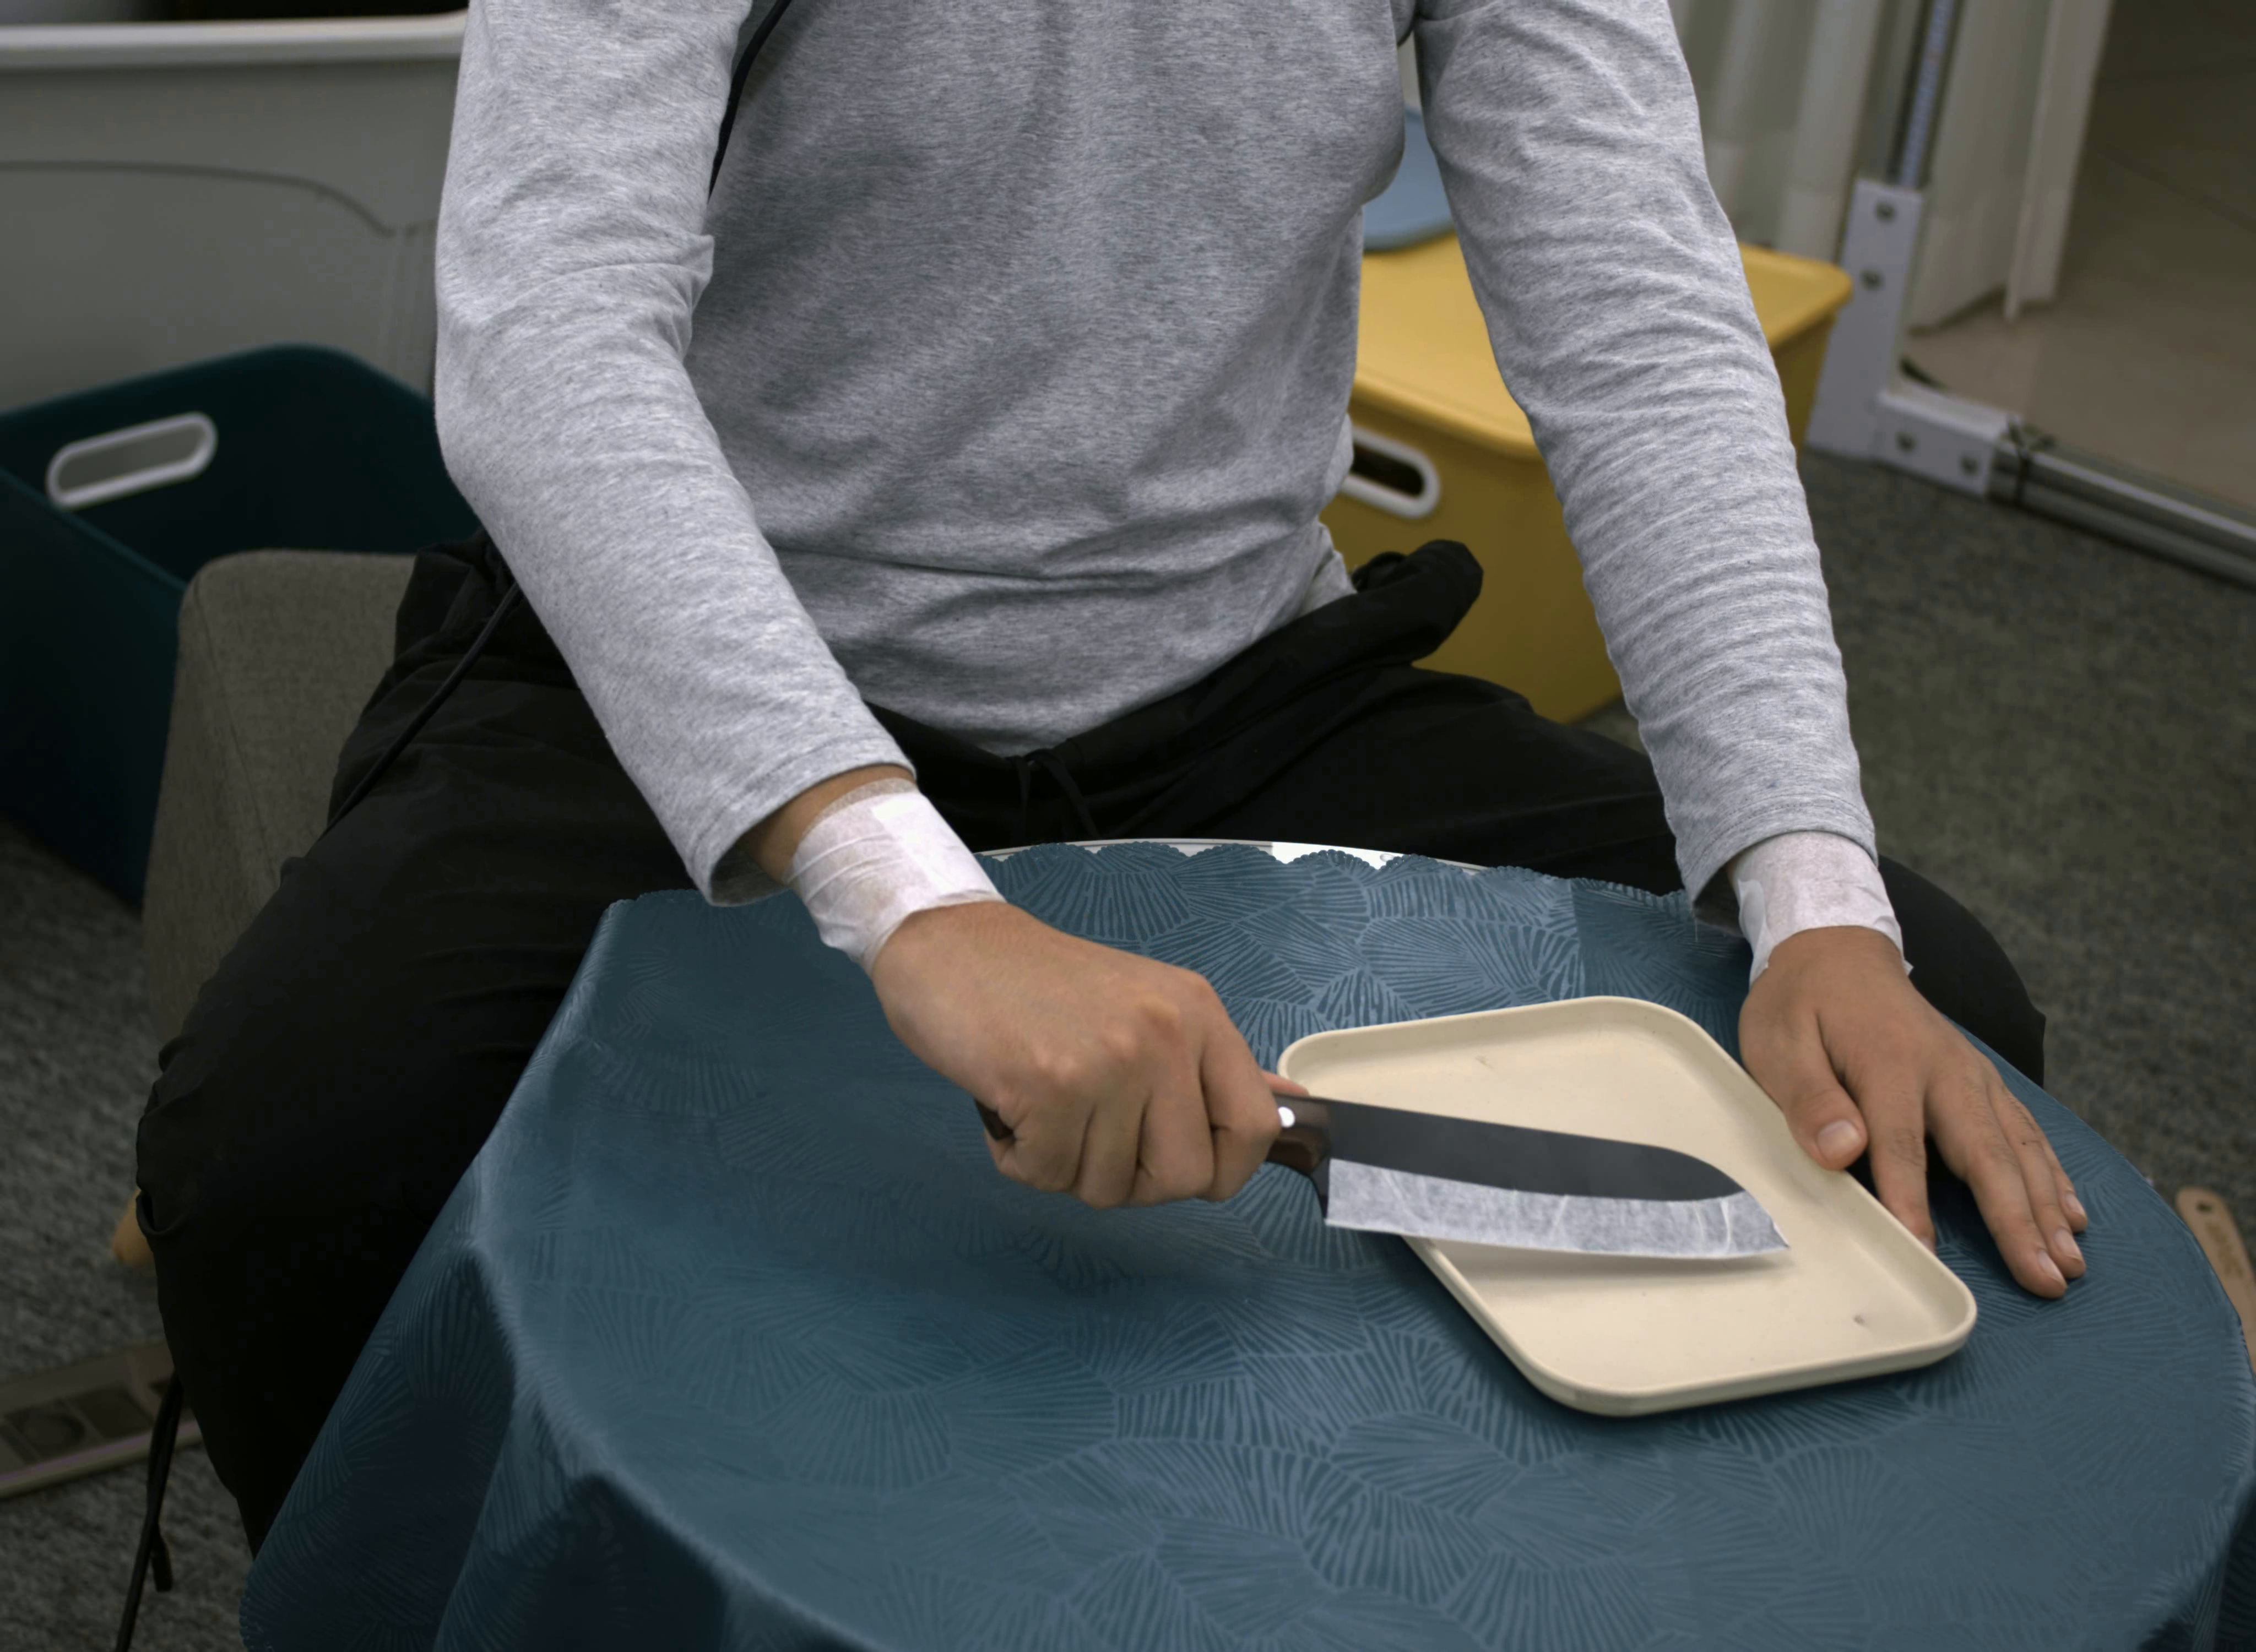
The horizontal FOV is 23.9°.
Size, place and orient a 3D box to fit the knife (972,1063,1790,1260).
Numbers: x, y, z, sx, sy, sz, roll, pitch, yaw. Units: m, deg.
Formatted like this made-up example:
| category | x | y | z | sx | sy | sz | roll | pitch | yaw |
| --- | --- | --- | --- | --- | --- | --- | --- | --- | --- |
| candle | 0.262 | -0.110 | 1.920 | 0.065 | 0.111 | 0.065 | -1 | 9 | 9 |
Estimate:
| category | x | y | z | sx | sy | sz | roll | pitch | yaw |
| --- | --- | --- | --- | --- | --- | --- | --- | --- | --- |
| knife | 0.087 | 0.113 | 1.765 | 0.287 | 0.020 | 0.050 | 11 | 66 | -13 |

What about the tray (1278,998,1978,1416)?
| category | x | y | z | sx | sy | sz | roll | pitch | yaw |
| --- | --- | --- | --- | --- | --- | --- | --- | --- | --- |
| tray | 0.167 | 0.128 | 1.815 | 0.170 | 0.017 | 0.242 | -6 | 29 | -24 |
